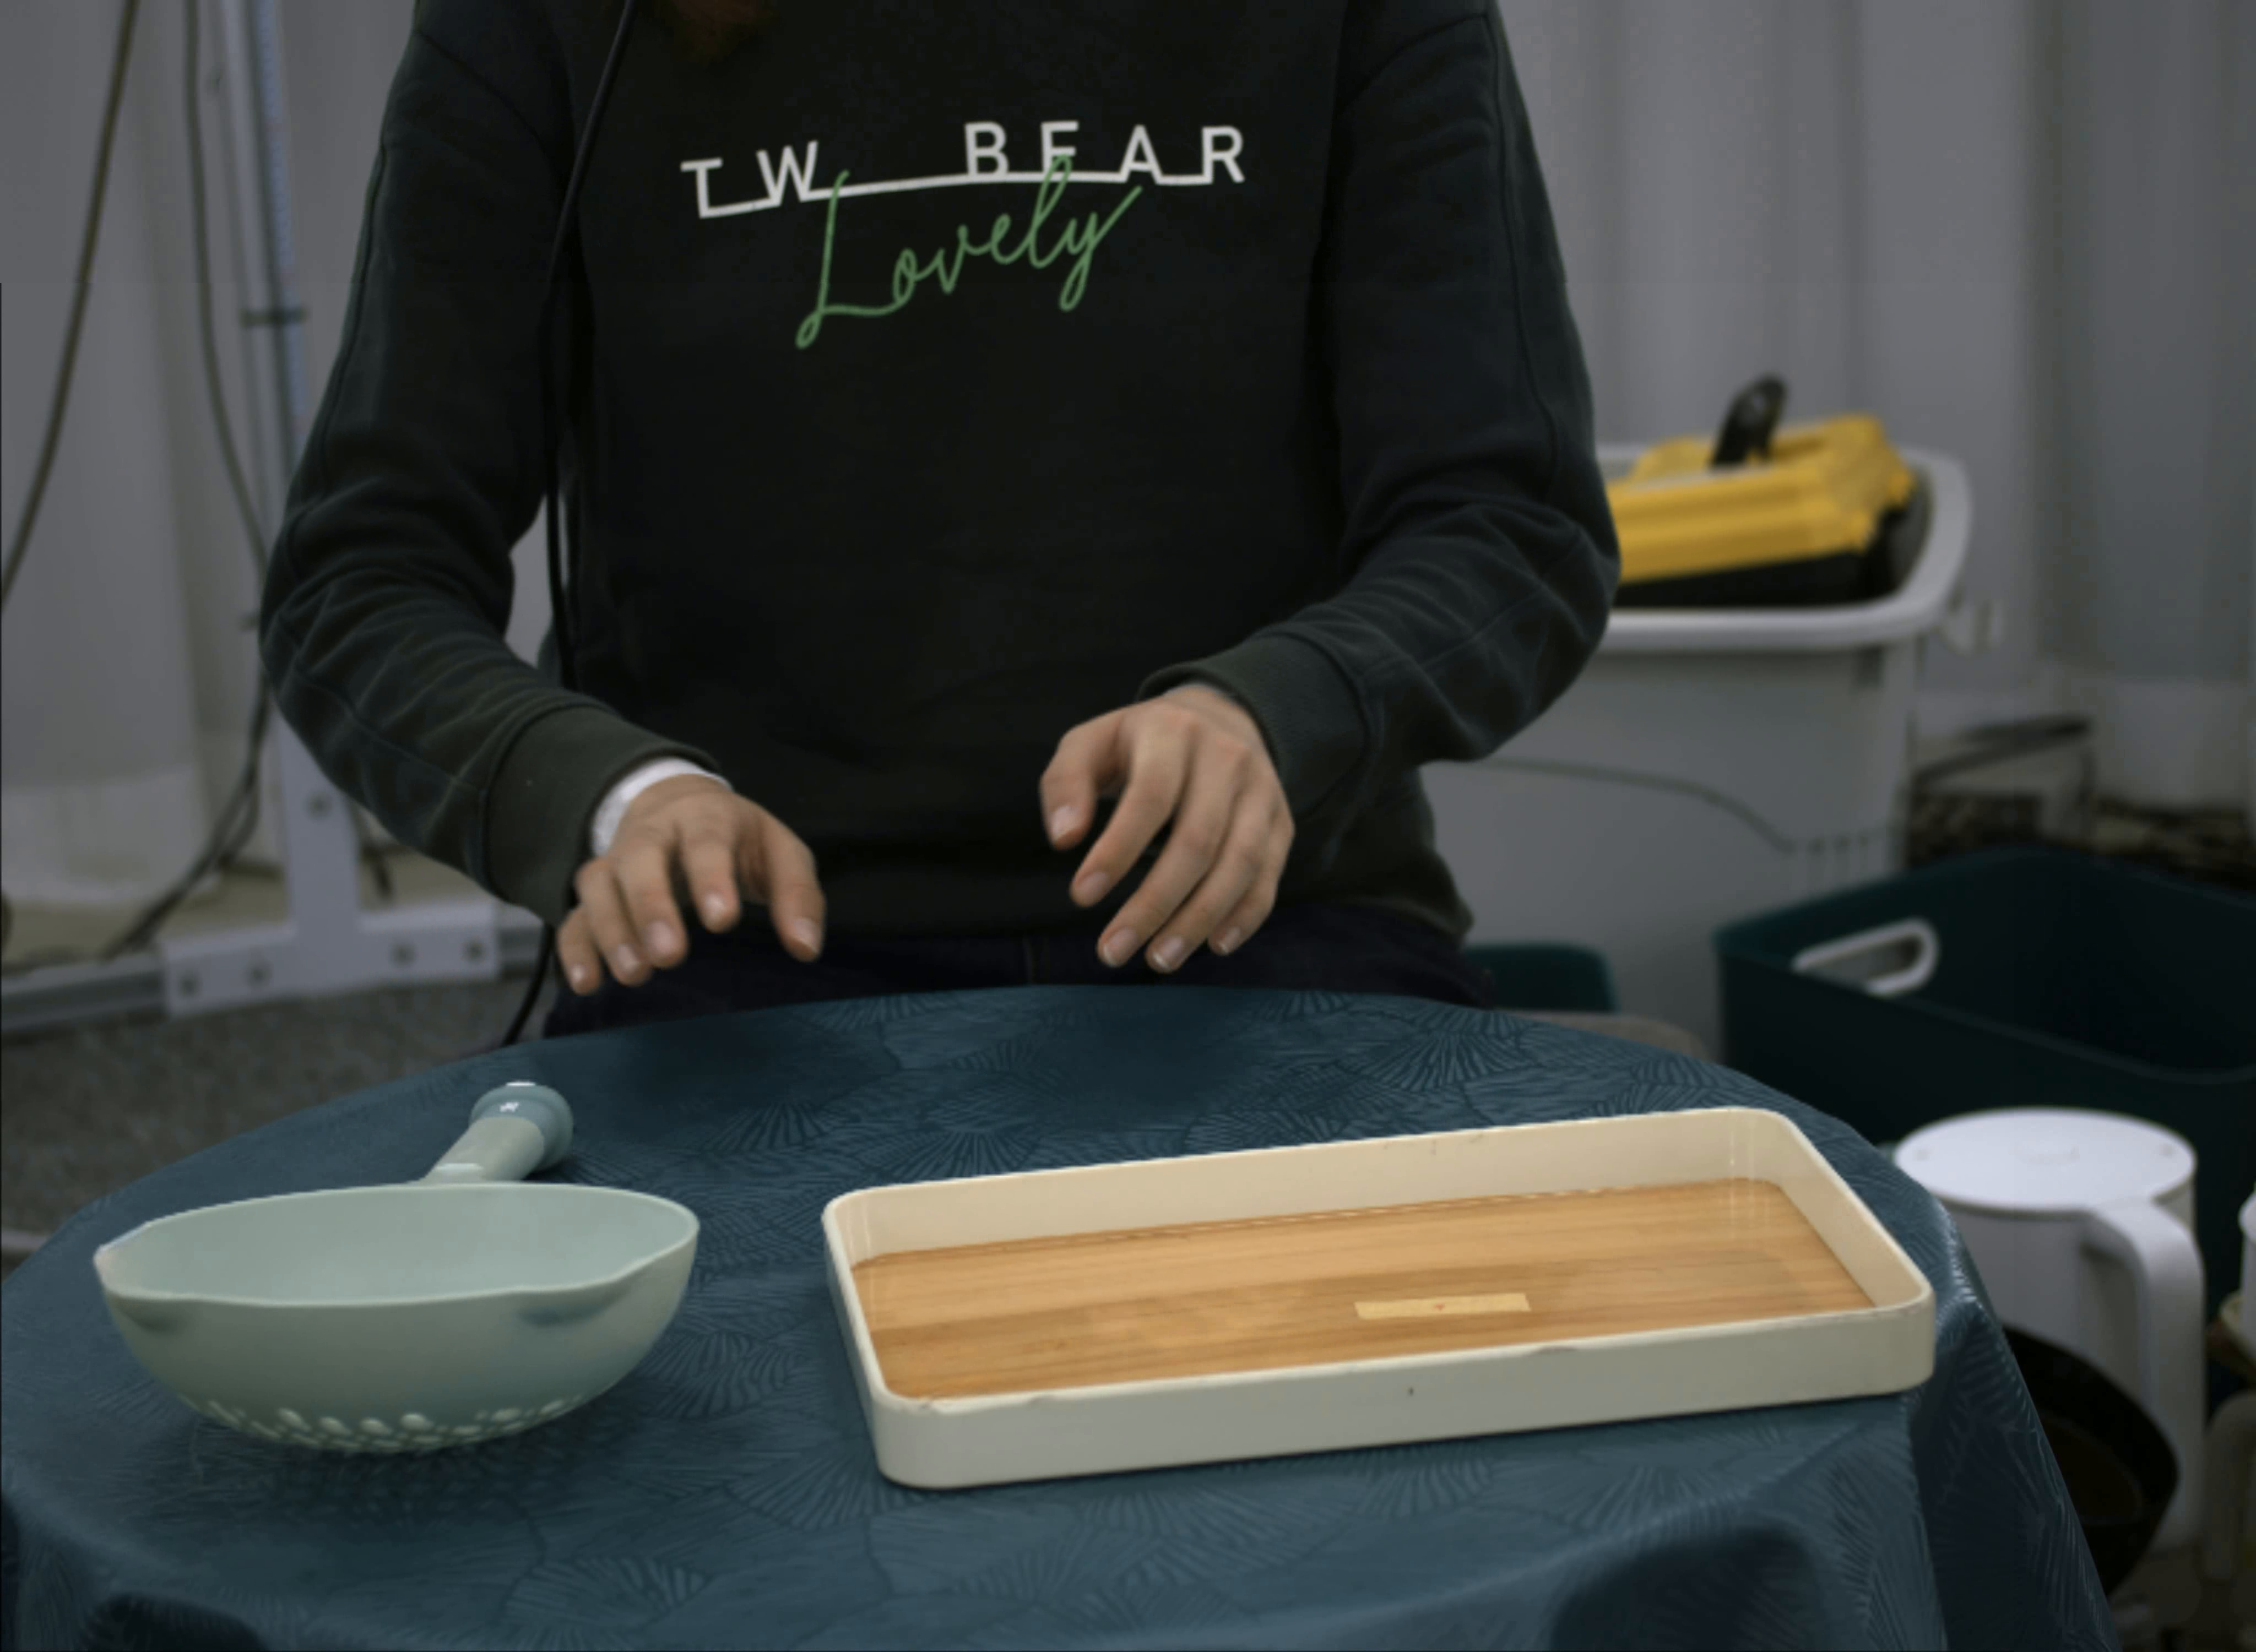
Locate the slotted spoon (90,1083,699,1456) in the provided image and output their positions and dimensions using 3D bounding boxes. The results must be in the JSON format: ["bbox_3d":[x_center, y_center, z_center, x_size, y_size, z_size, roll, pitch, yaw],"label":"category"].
[{"bbox_3d":[-0.200,0.116,1.624,0.169,0.075,0.361,-1,15,2],"label":"slotted spoon"}]

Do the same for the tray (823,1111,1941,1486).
[{"bbox_3d":[0.068,0.134,1.579,0.299,0.027,0.193,-4,15,-7],"label":"tray"}]
